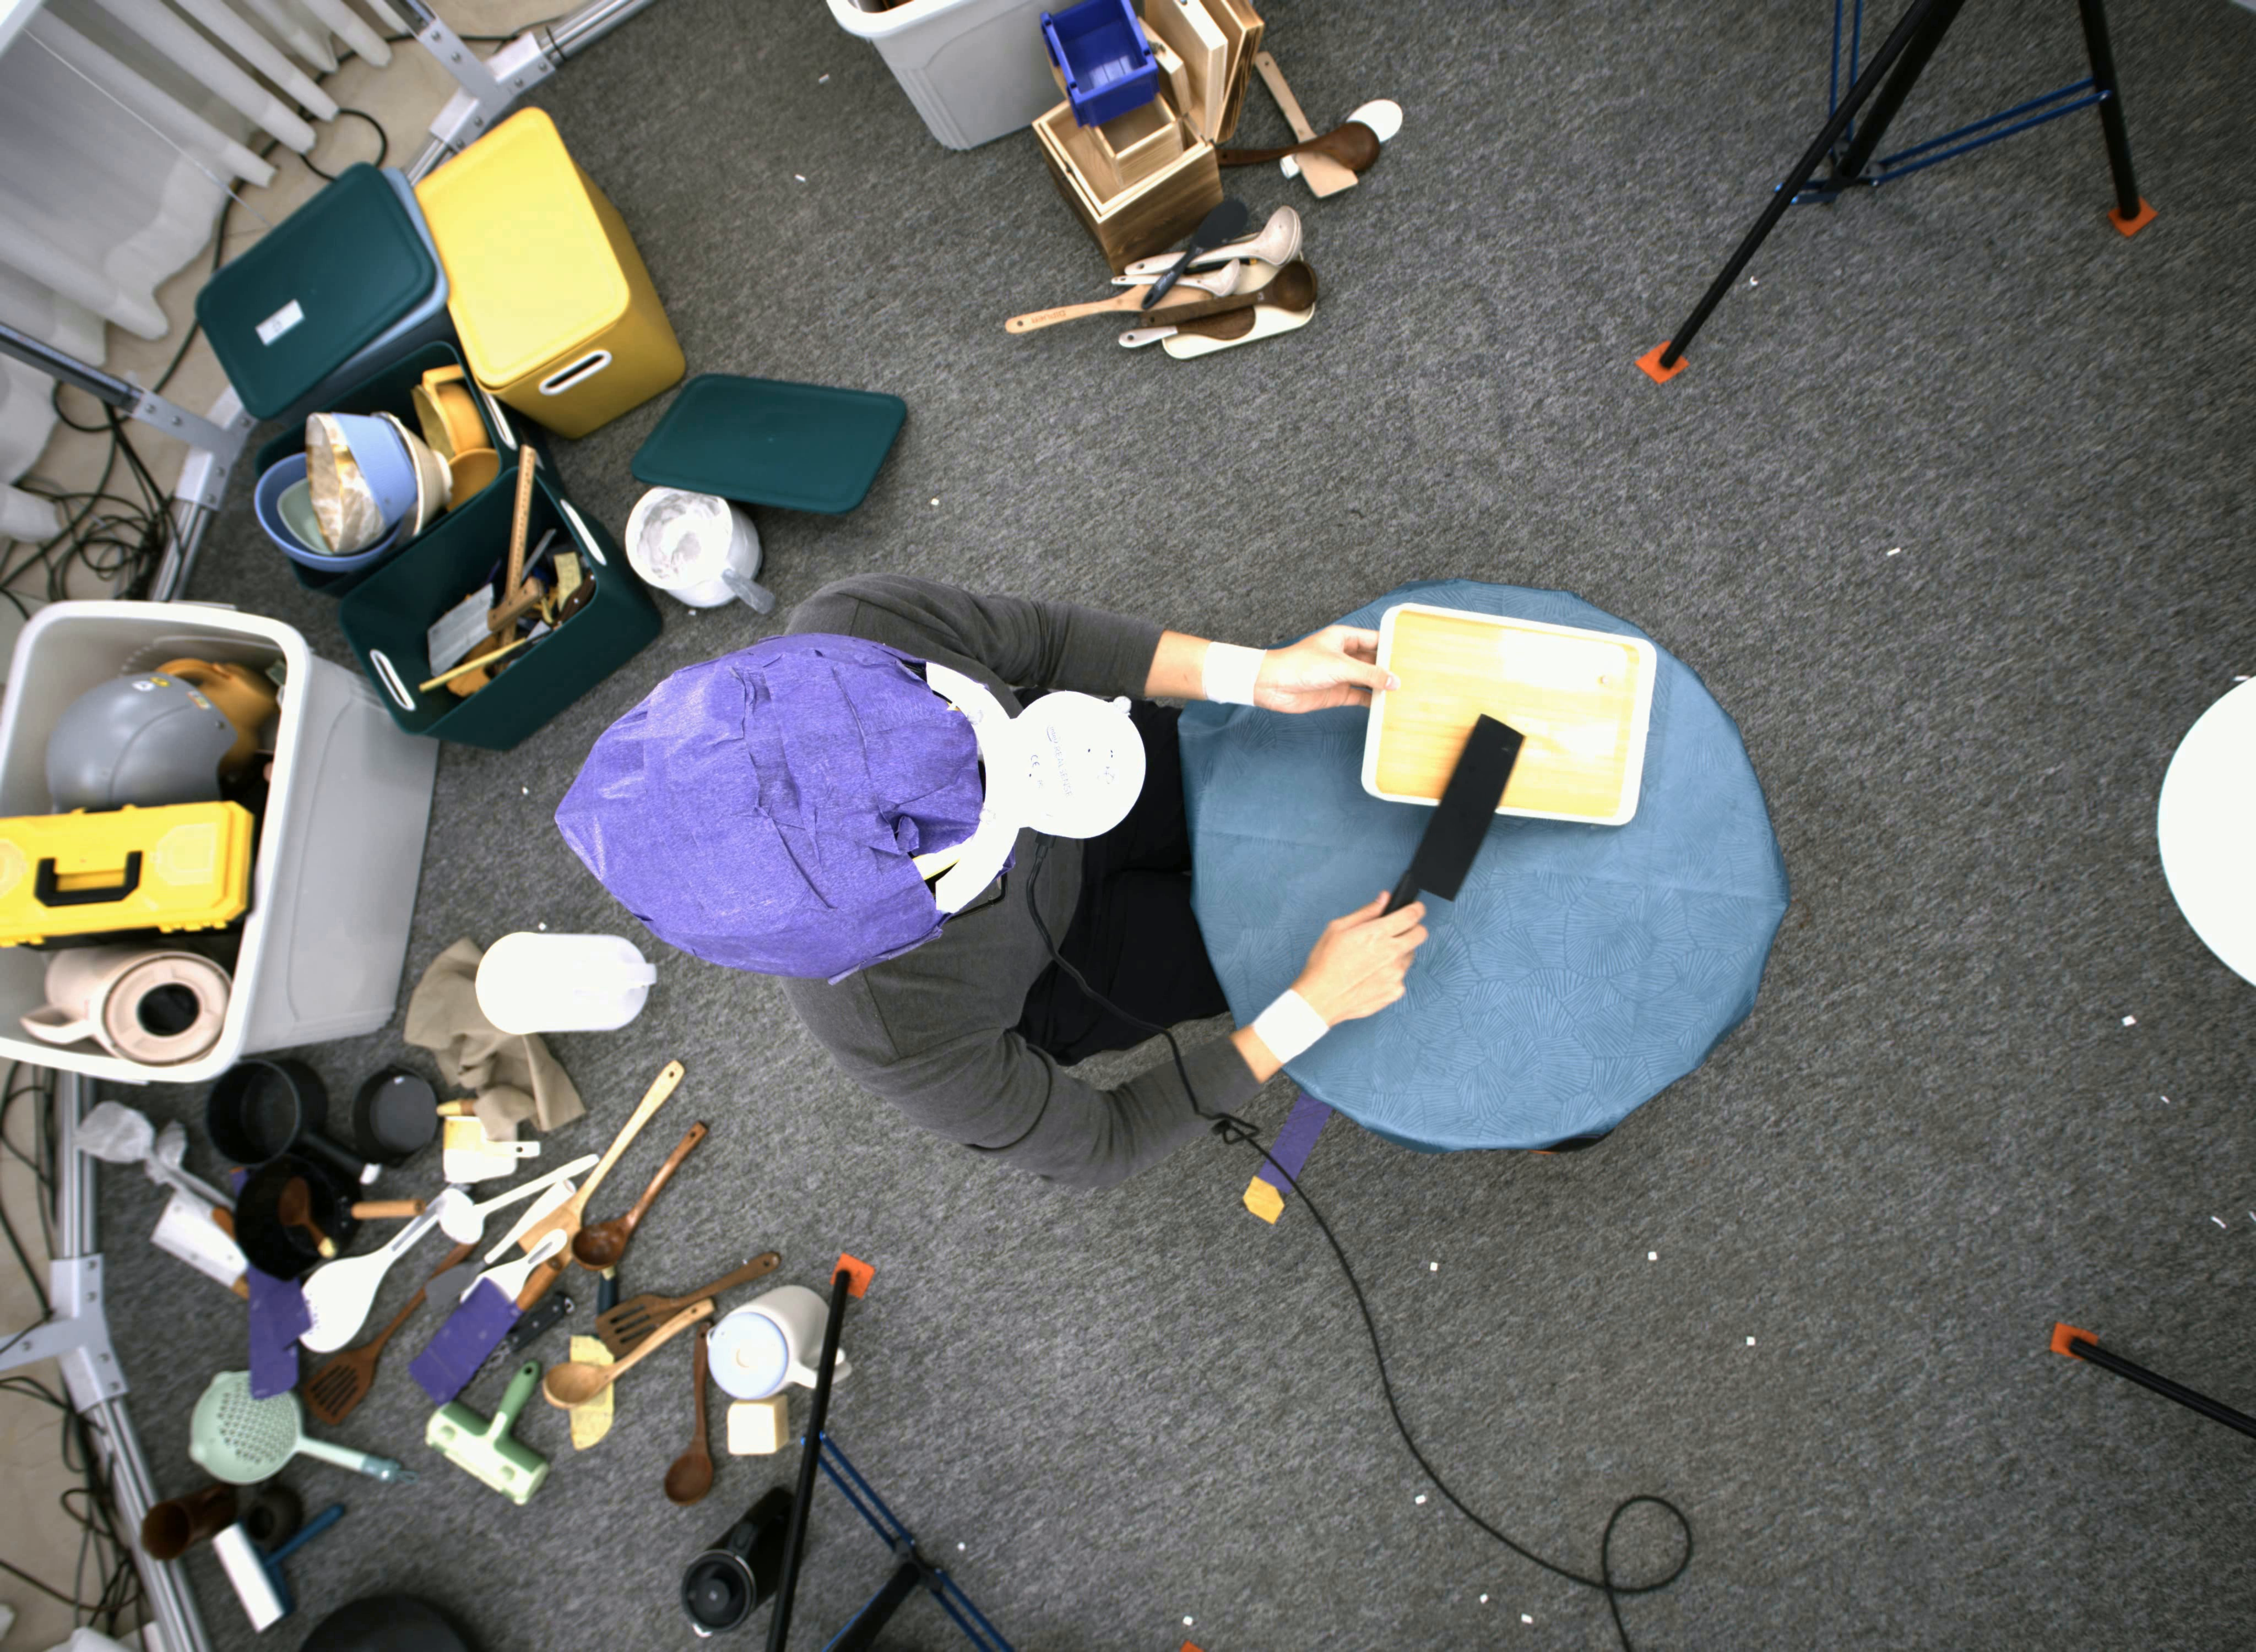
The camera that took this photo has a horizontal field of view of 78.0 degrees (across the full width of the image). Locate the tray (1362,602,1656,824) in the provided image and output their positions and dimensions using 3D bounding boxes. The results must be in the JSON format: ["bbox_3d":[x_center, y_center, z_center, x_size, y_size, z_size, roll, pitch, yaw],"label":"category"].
[{"bbox_3d":[0.381,-0.112,1.361,0.300,0.027,0.192,5,96,-15],"label":"tray"}]

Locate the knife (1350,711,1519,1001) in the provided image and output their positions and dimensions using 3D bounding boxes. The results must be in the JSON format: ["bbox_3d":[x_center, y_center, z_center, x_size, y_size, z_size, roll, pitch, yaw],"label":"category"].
[{"bbox_3d":[0.297,0.032,1.348,0.081,0.020,0.303,25,96,-23],"label":"knife"}]
